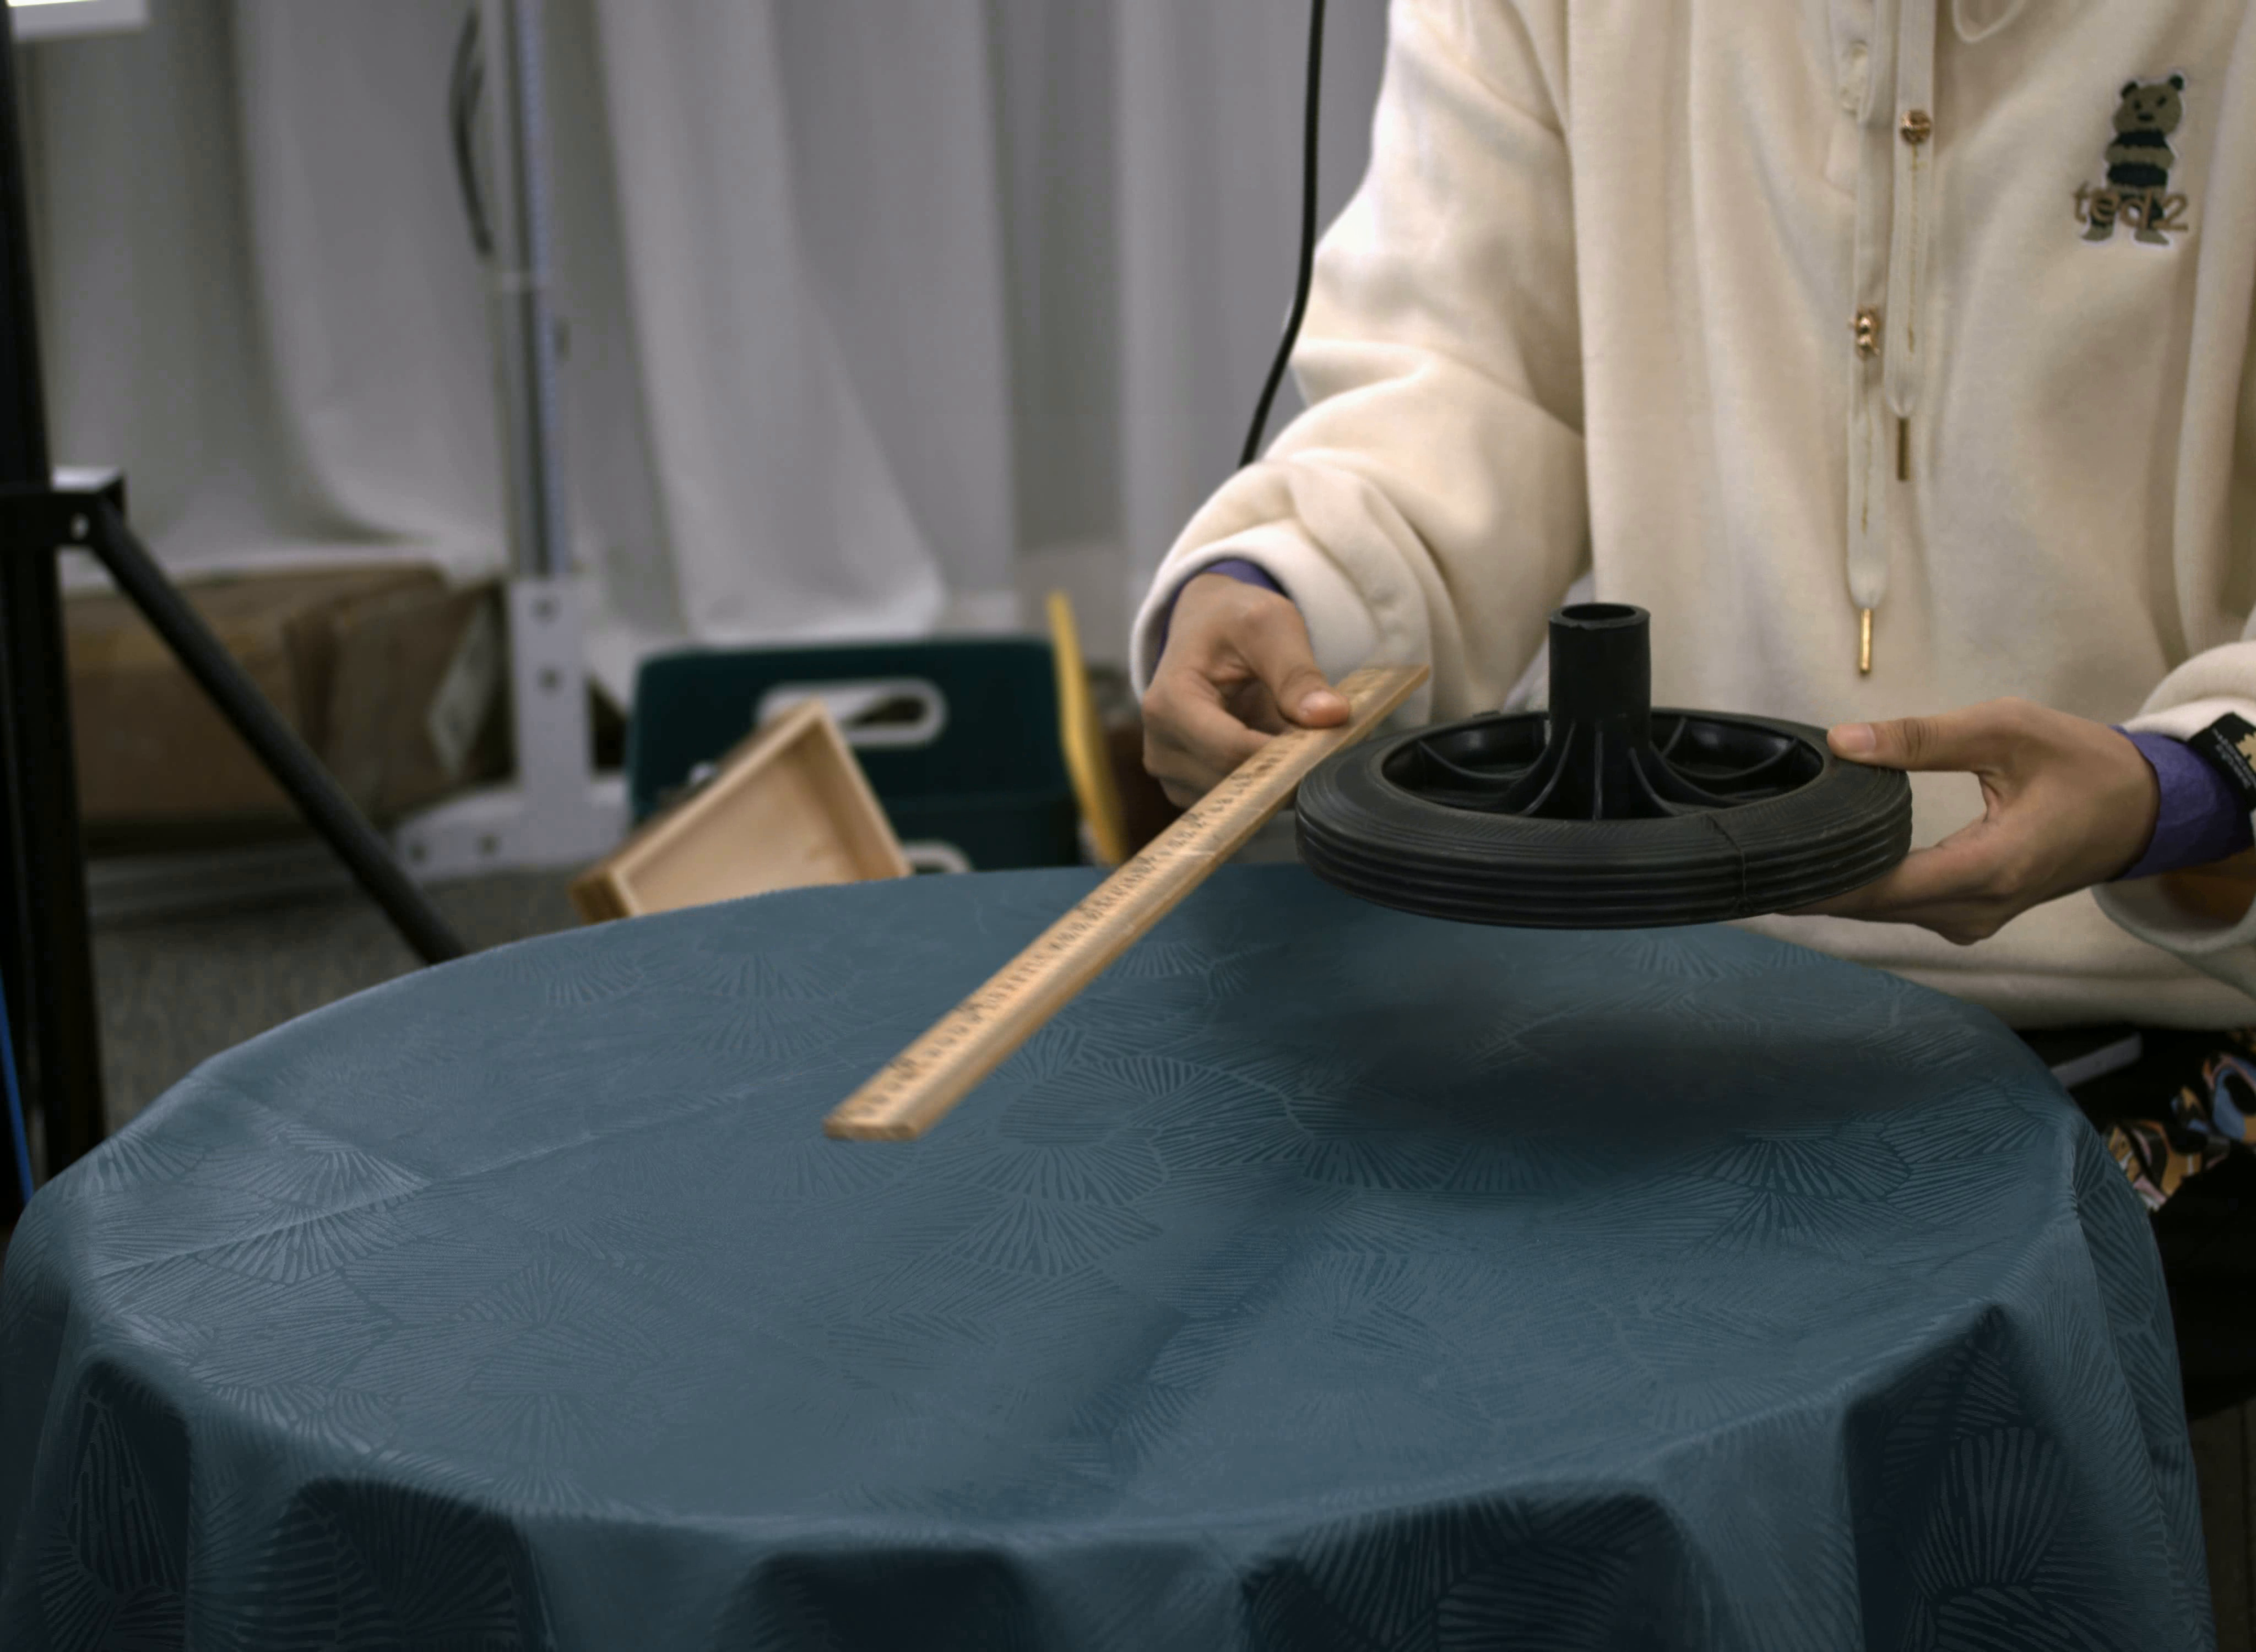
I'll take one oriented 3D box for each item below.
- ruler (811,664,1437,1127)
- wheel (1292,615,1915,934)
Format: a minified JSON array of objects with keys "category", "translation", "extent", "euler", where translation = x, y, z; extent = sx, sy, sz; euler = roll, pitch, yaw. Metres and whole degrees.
[{"category":"ruler","translation":[0.011,0.011,1.562],"extent":[0.027,0.006,0.494],"euler":[-1,14,20]},{"category":"wheel","translation":[0.144,-0.022,1.614],"extent":[0.191,0.079,0.186],"euler":[2,15,16]}]
